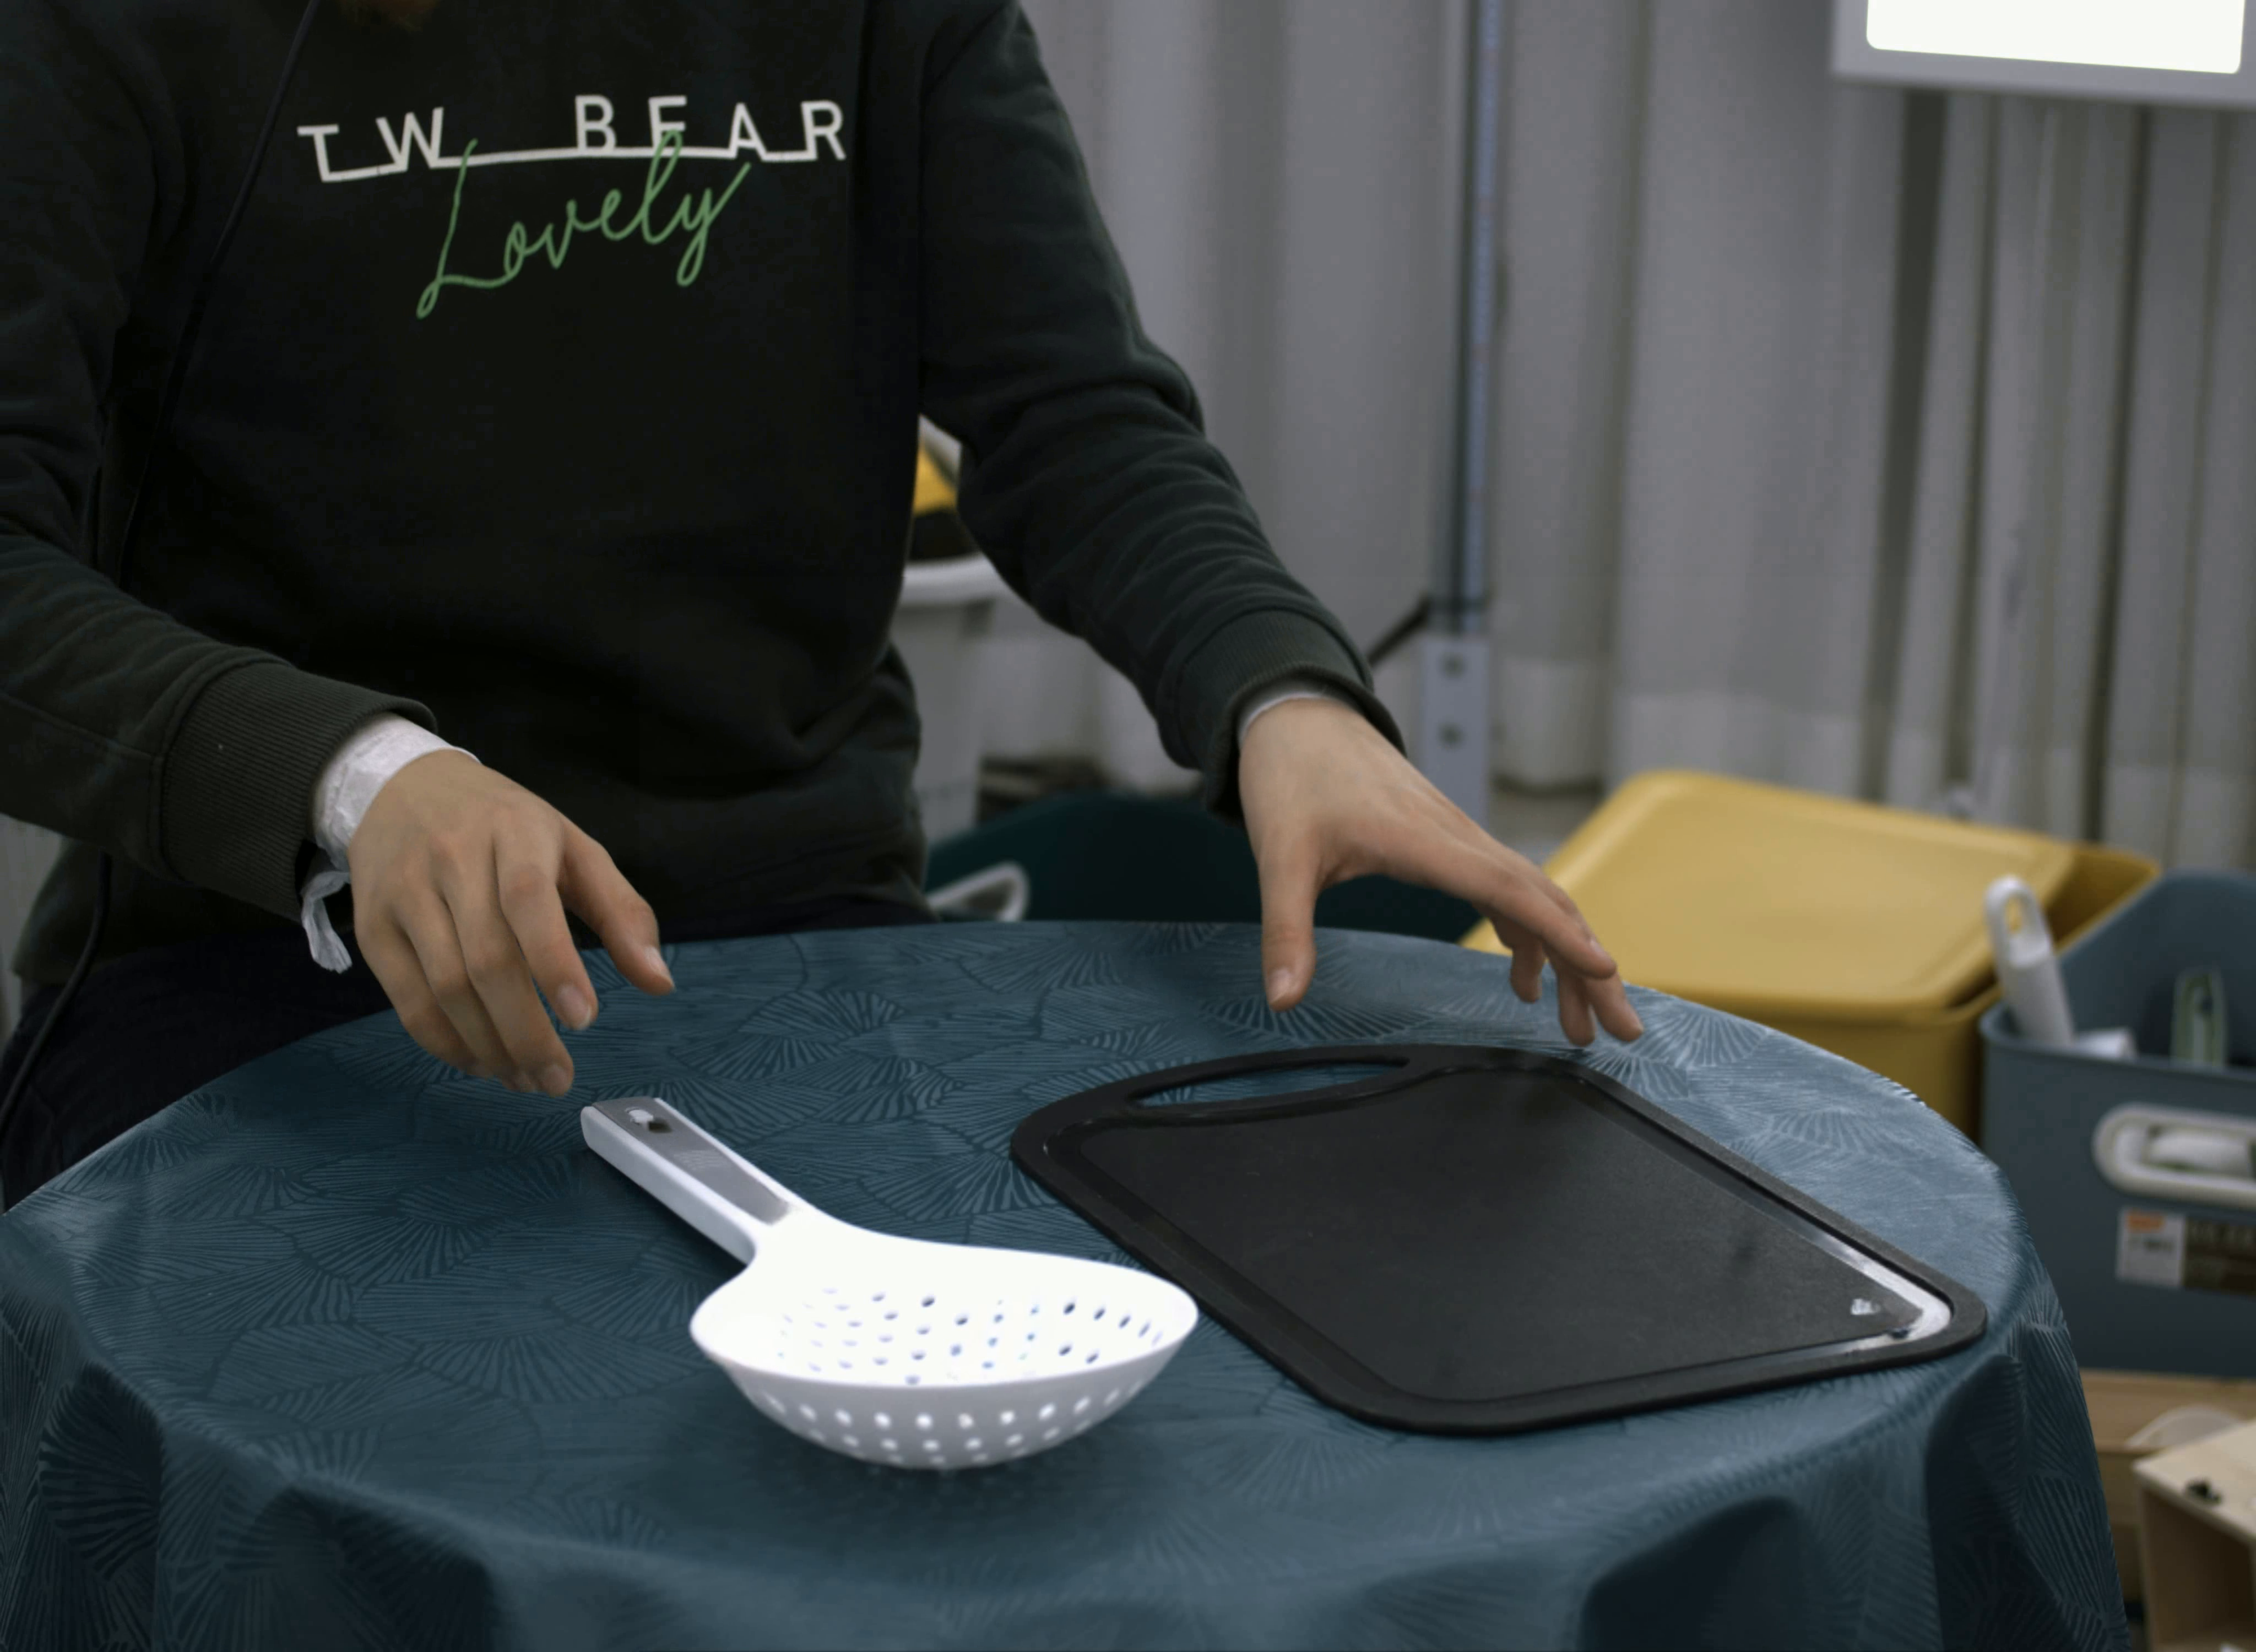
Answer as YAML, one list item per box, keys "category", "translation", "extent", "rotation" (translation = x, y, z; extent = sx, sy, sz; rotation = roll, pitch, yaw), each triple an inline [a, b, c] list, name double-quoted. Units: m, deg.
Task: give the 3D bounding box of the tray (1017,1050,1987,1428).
- category: "tray"
  translation: [0.102, 0.117, 1.601]
  extent: [0.212, 0.010, 0.321]
  rotation: [-6, 17, -23]

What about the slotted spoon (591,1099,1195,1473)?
- category: "slotted spoon"
  translation: [-0.092, 0.122, 1.506]
  extent: [0.136, 0.046, 0.345]
  rotation: [-4, 16, -23]
